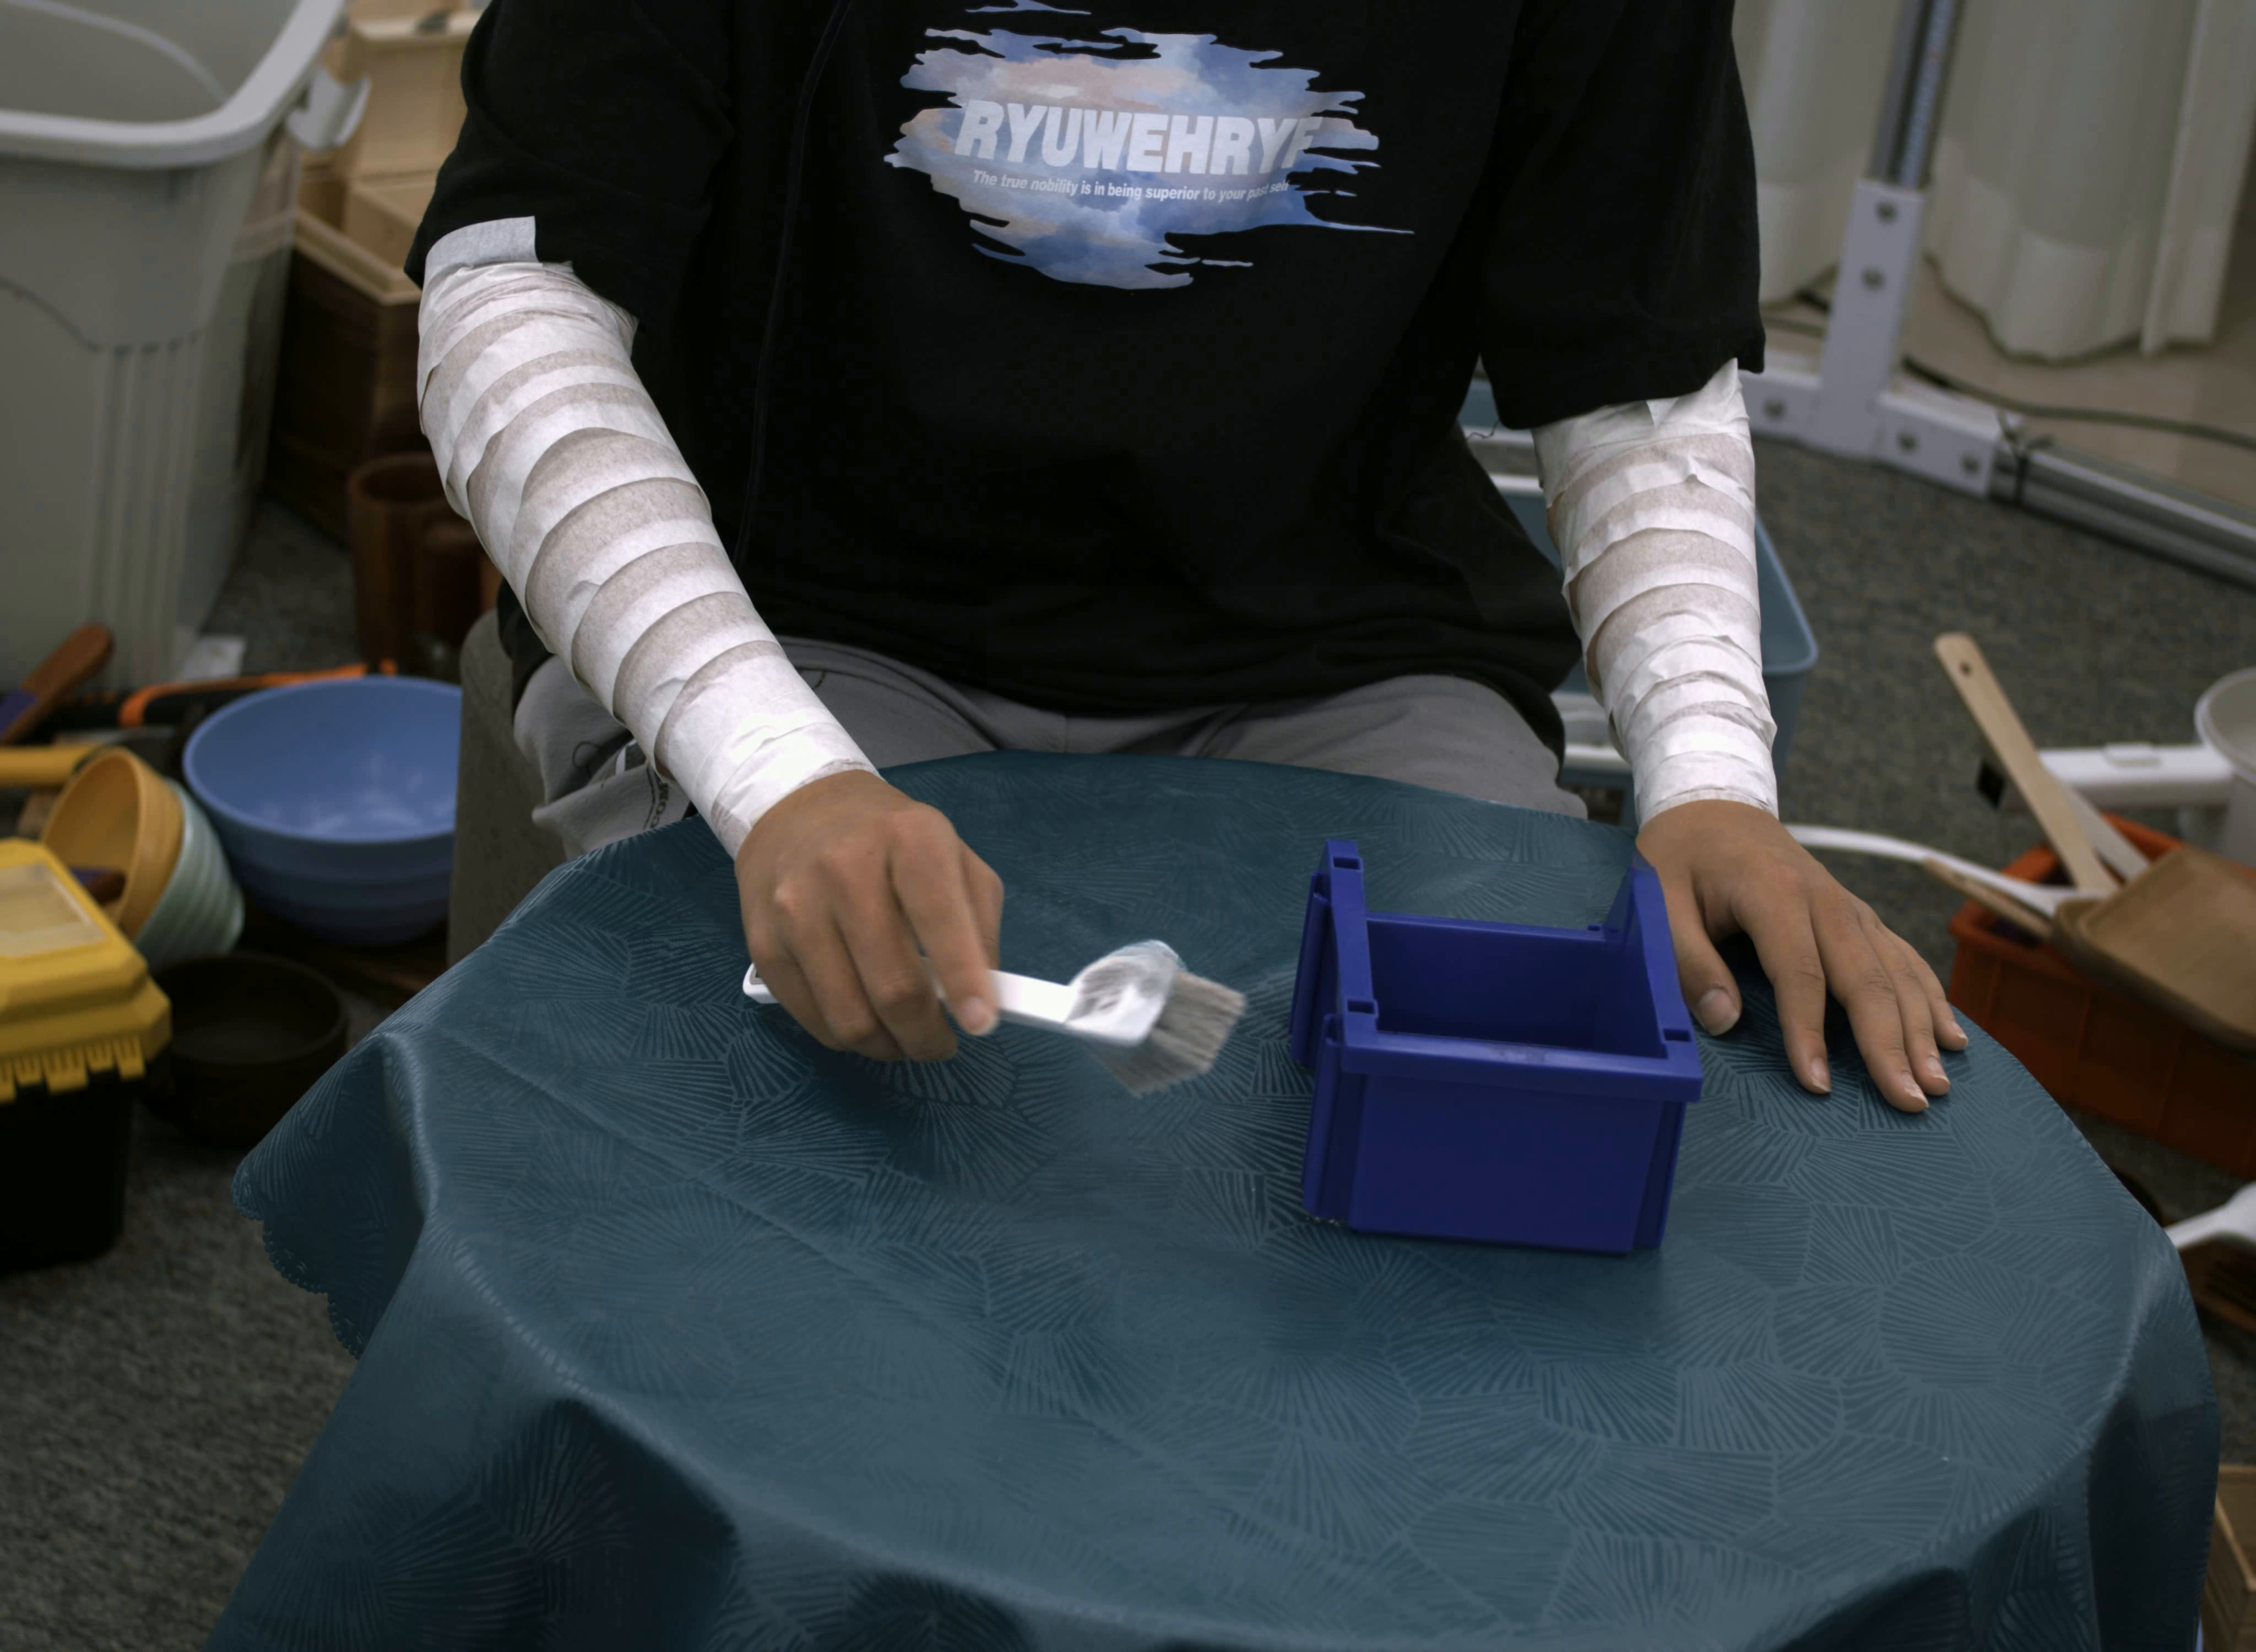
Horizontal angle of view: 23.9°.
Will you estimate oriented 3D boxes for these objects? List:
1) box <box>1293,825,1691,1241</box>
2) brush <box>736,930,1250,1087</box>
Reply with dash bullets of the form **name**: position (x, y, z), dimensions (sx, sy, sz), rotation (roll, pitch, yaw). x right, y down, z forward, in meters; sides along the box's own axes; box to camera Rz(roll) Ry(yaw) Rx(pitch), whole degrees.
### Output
- **box**: position (0.123, 0.067, 1.854), dimensions (0.124, 0.081, 0.180), rotation (6, 28, -2)
- **brush**: position (-0.047, 0.063, 1.798), dimensions (0.245, 0.050, 0.034), rotation (-4, 50, 51)
